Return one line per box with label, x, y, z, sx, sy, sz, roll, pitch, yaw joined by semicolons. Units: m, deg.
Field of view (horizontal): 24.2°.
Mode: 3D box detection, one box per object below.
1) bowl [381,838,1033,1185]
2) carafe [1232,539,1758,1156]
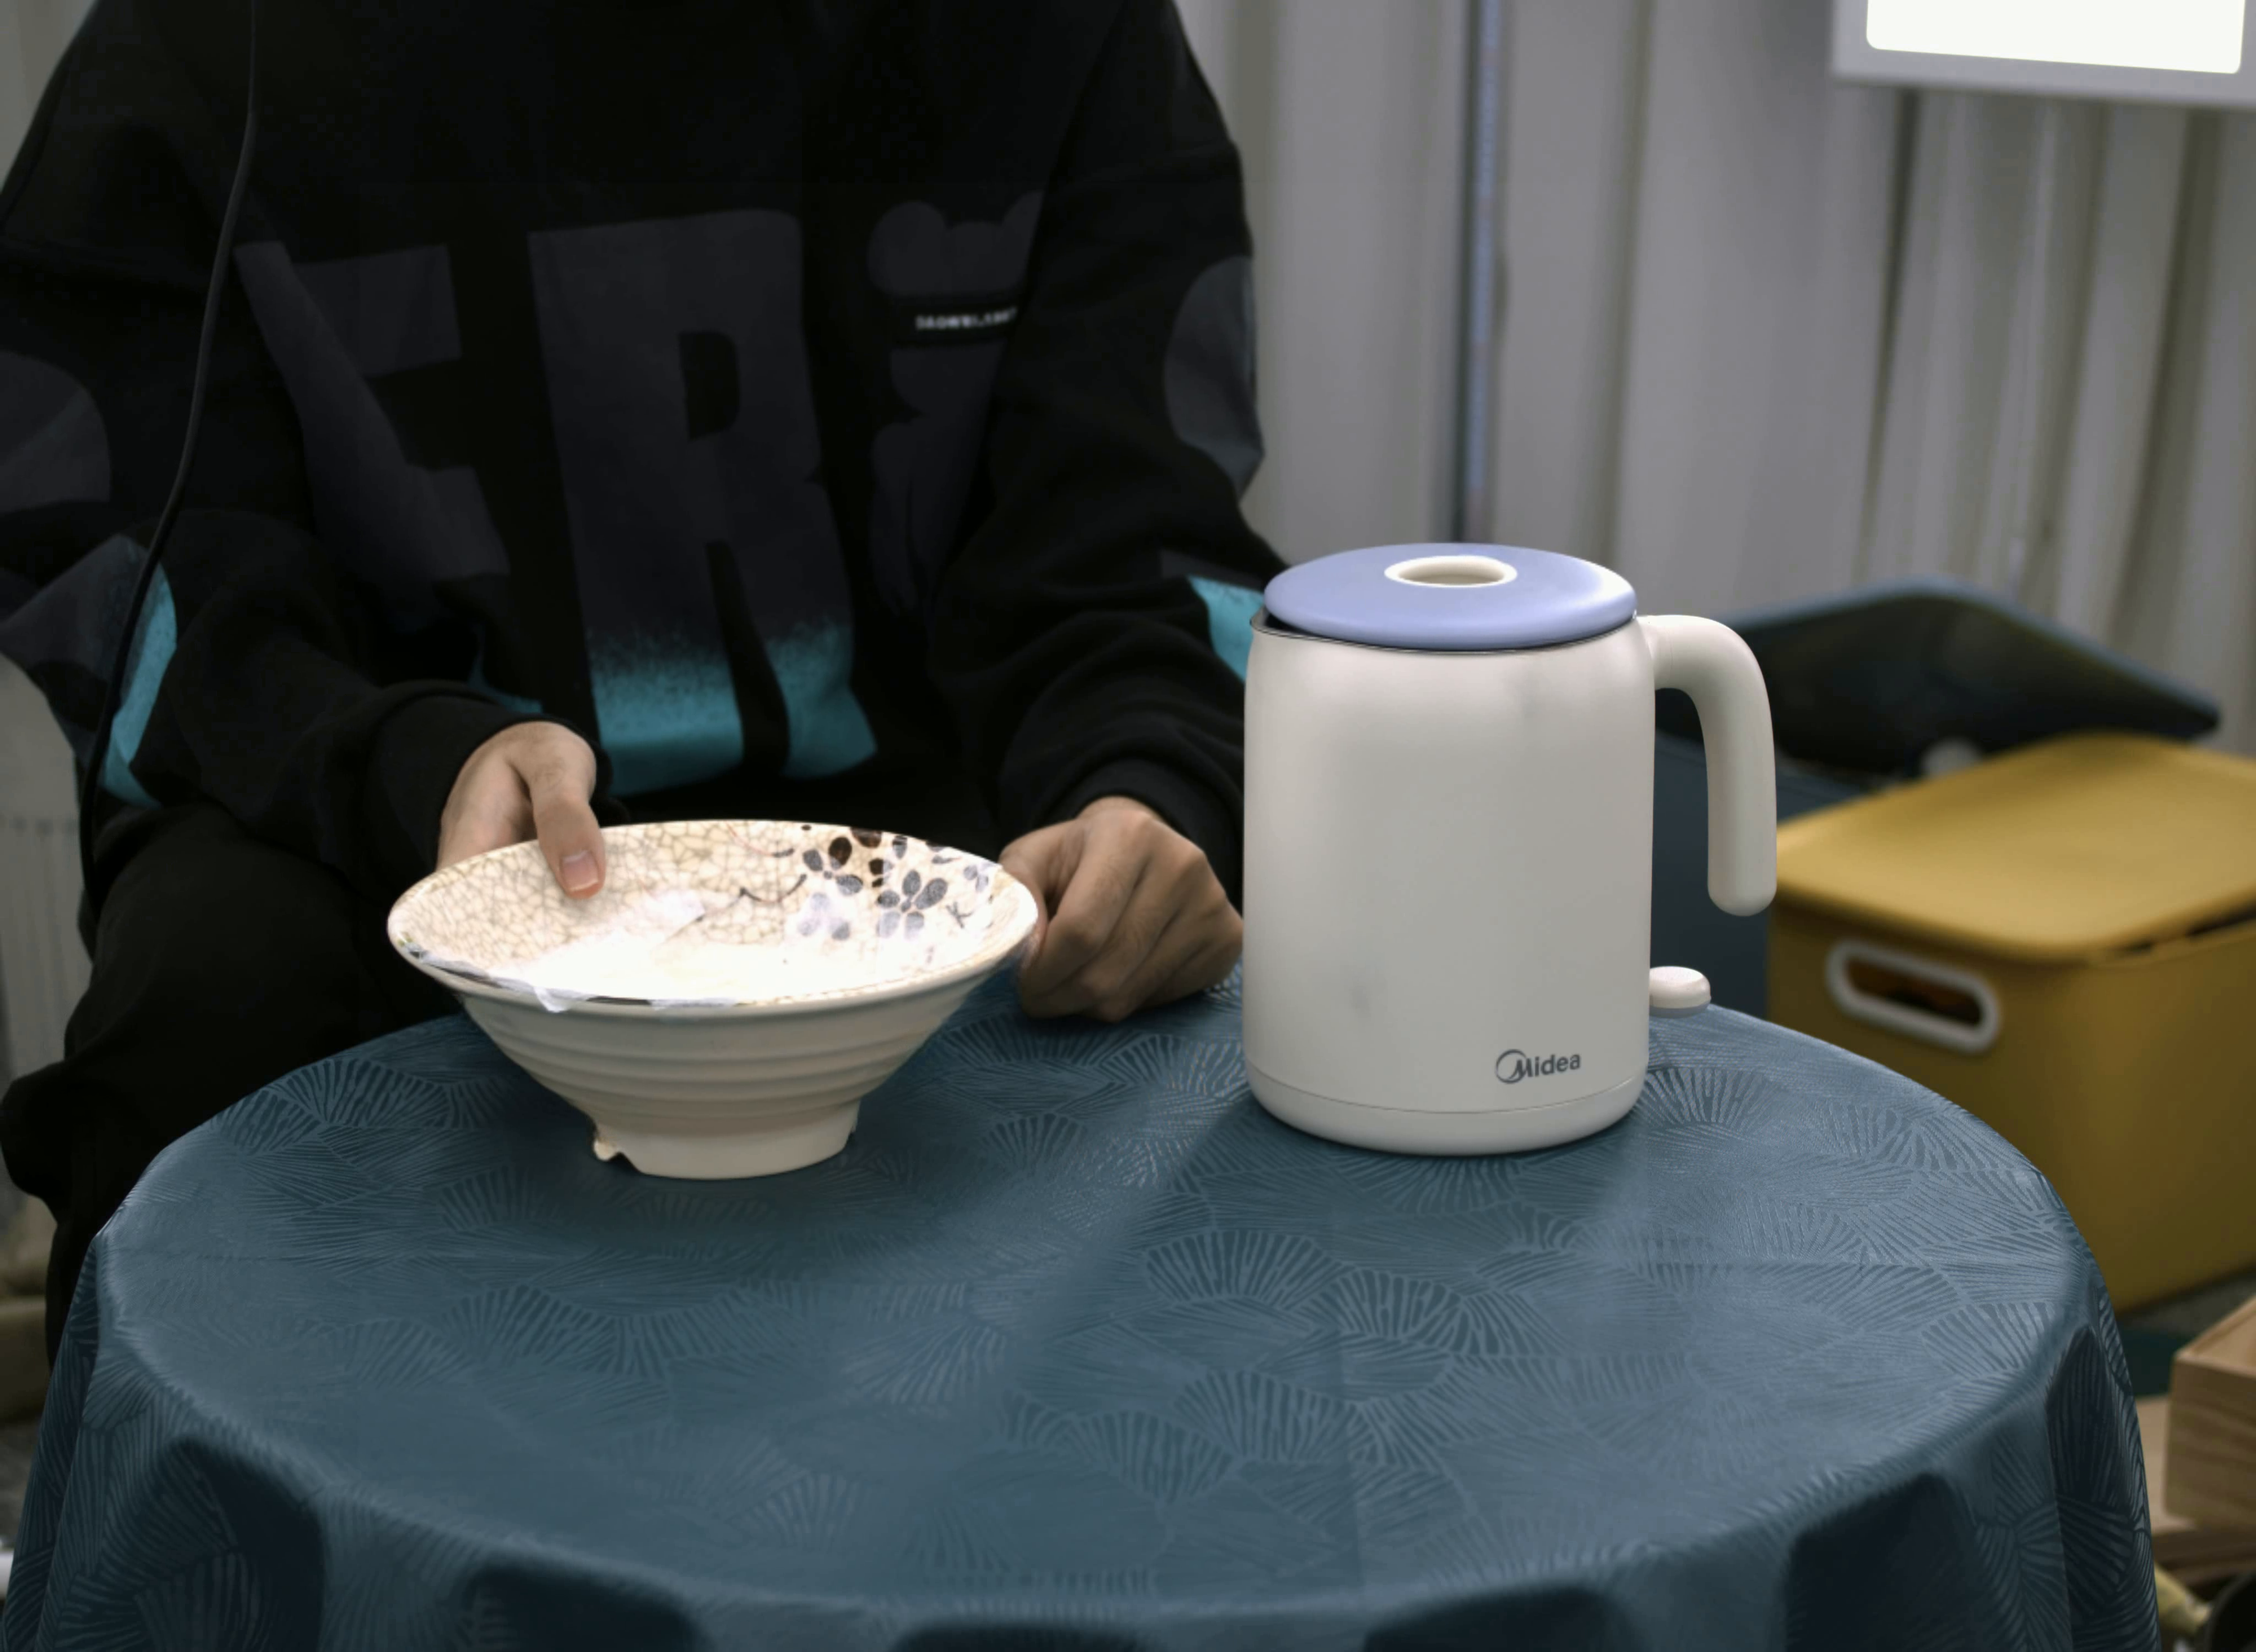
bowl;-0.131;0.063;1.653;0.203;0.078;0.203;1;13;0
carafe;0.123;0.004;1.695;0.192;0.184;0.130;-5;18;-26
